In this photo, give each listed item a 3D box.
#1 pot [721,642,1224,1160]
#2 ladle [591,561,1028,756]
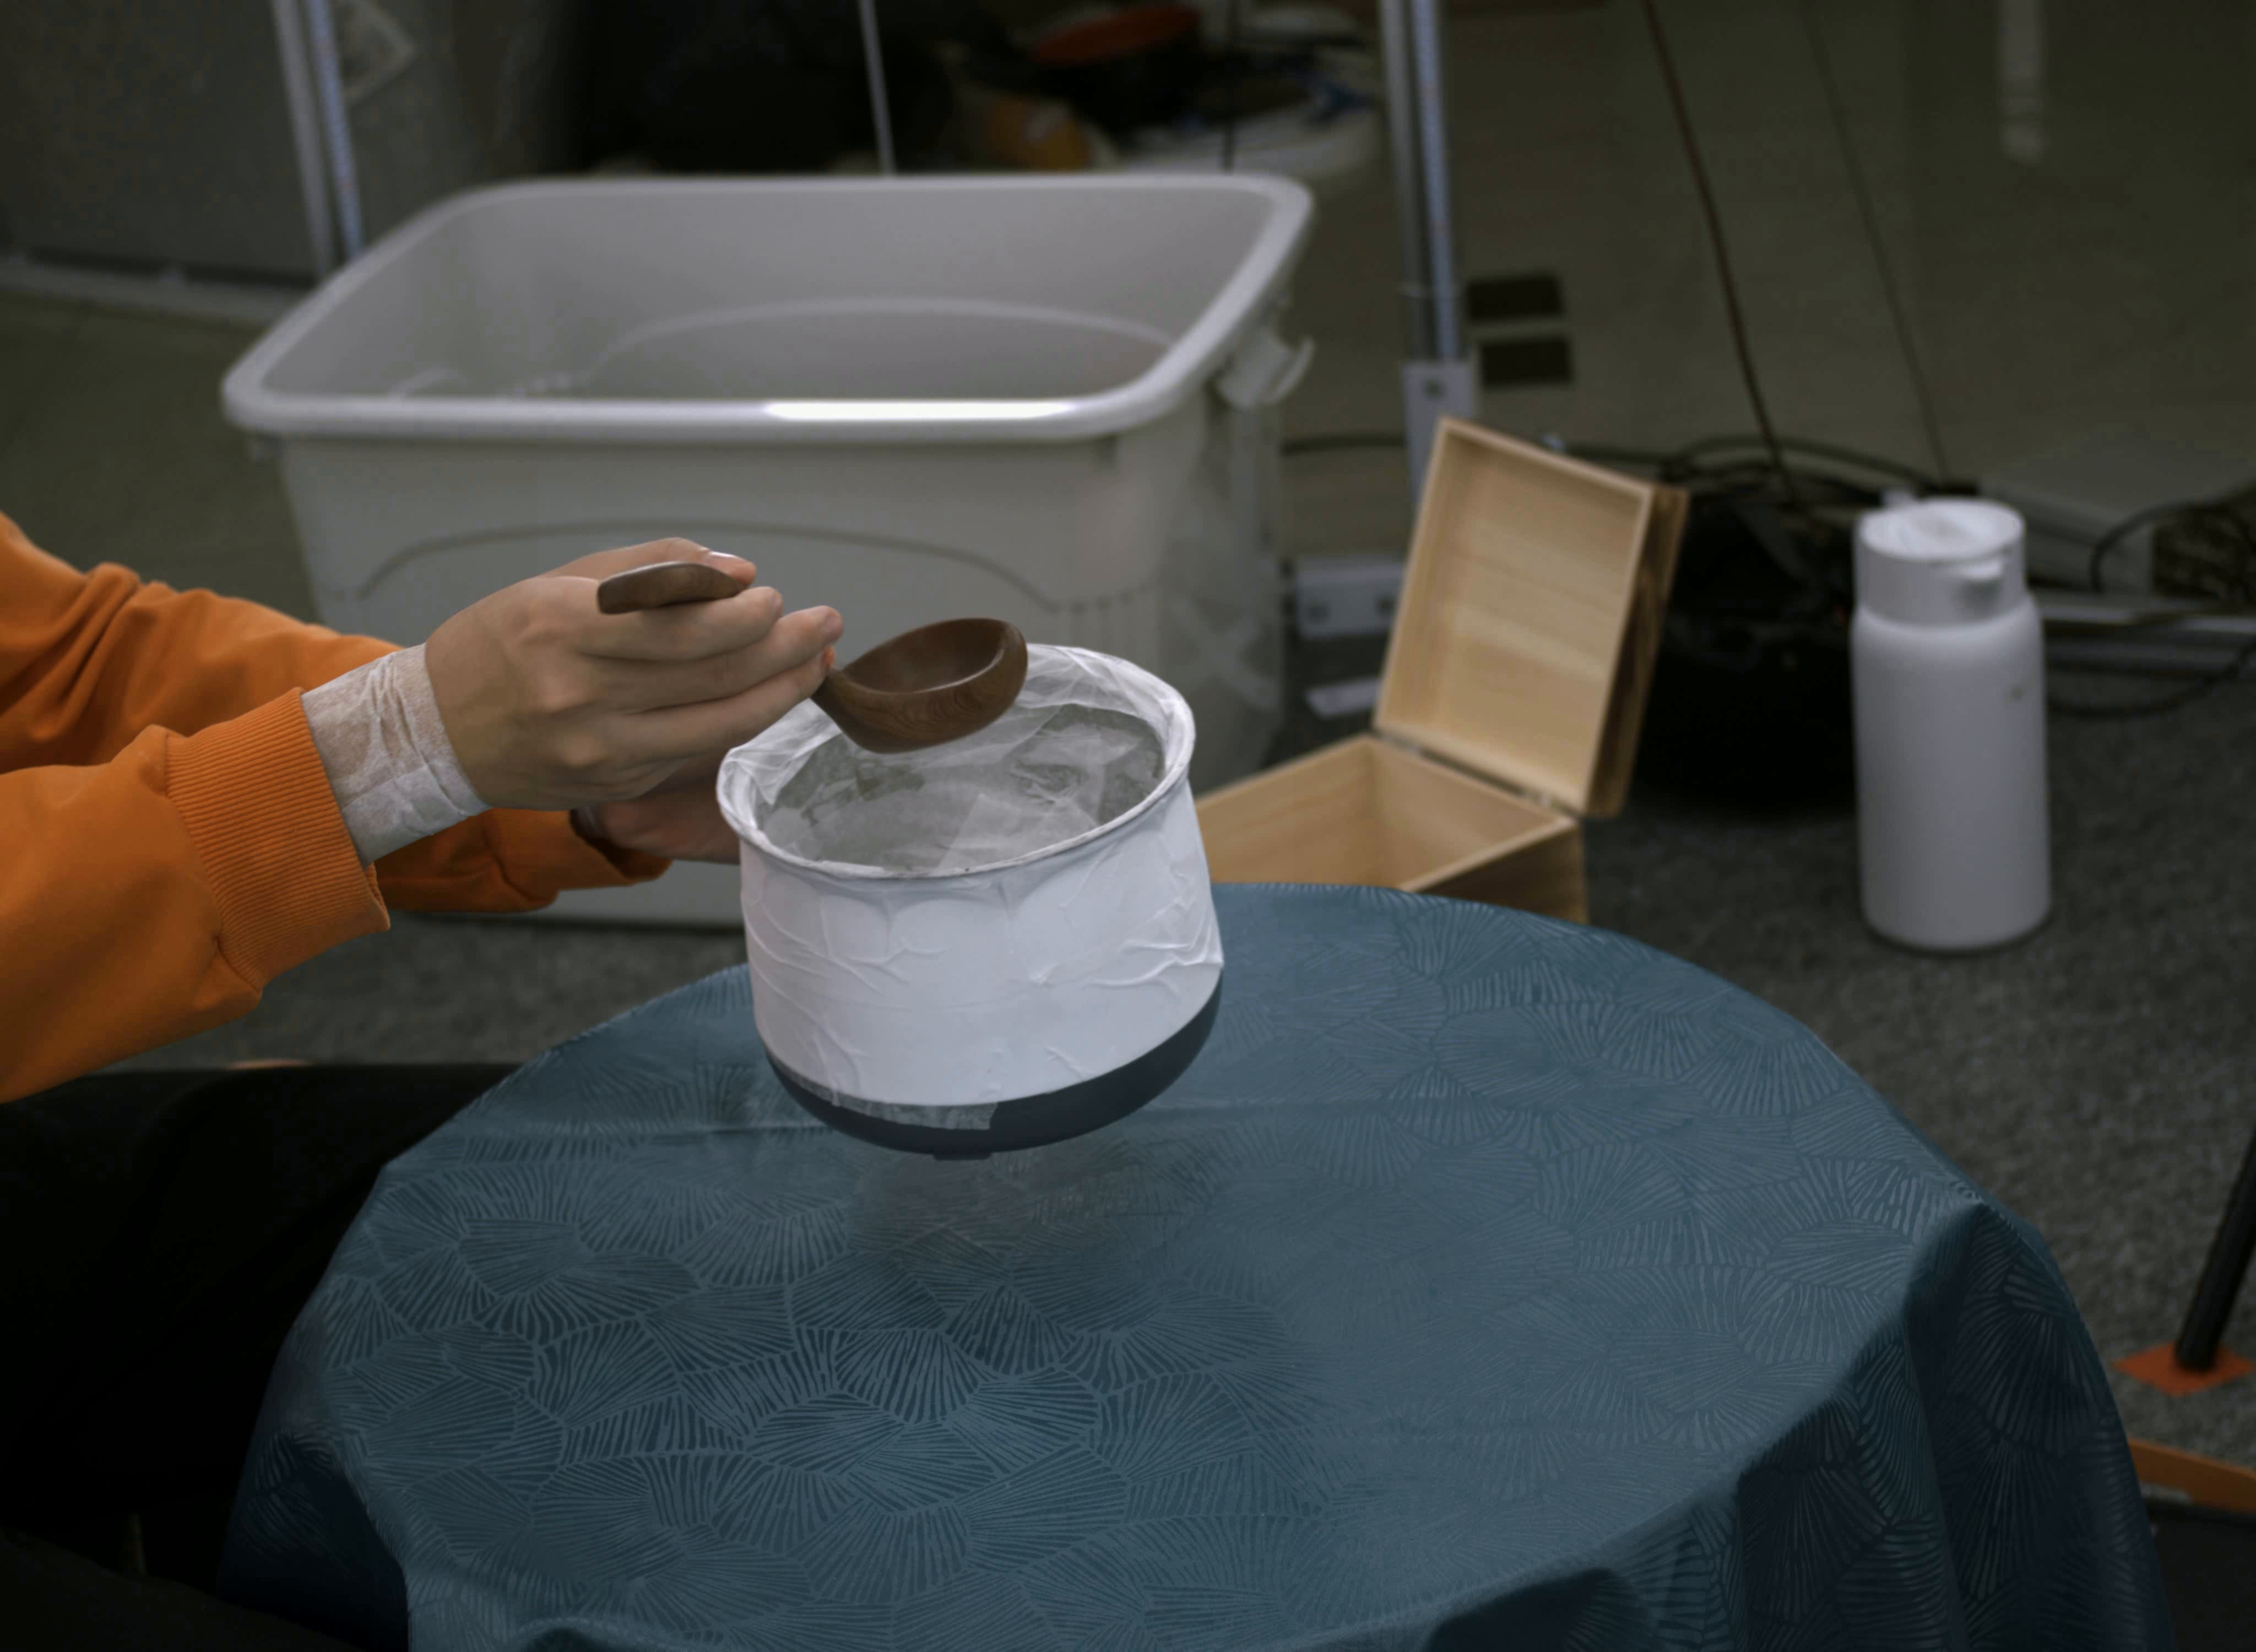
[{"bbox_3d":[-0.072,0.020,2.120,0.177,0.139,0.231,-24,34,-29],"label":"pot"},{"bbox_3d":[-0.114,-0.072,1.932,0.076,0.064,0.262,-15,-19,22],"label":"ladle"}]
